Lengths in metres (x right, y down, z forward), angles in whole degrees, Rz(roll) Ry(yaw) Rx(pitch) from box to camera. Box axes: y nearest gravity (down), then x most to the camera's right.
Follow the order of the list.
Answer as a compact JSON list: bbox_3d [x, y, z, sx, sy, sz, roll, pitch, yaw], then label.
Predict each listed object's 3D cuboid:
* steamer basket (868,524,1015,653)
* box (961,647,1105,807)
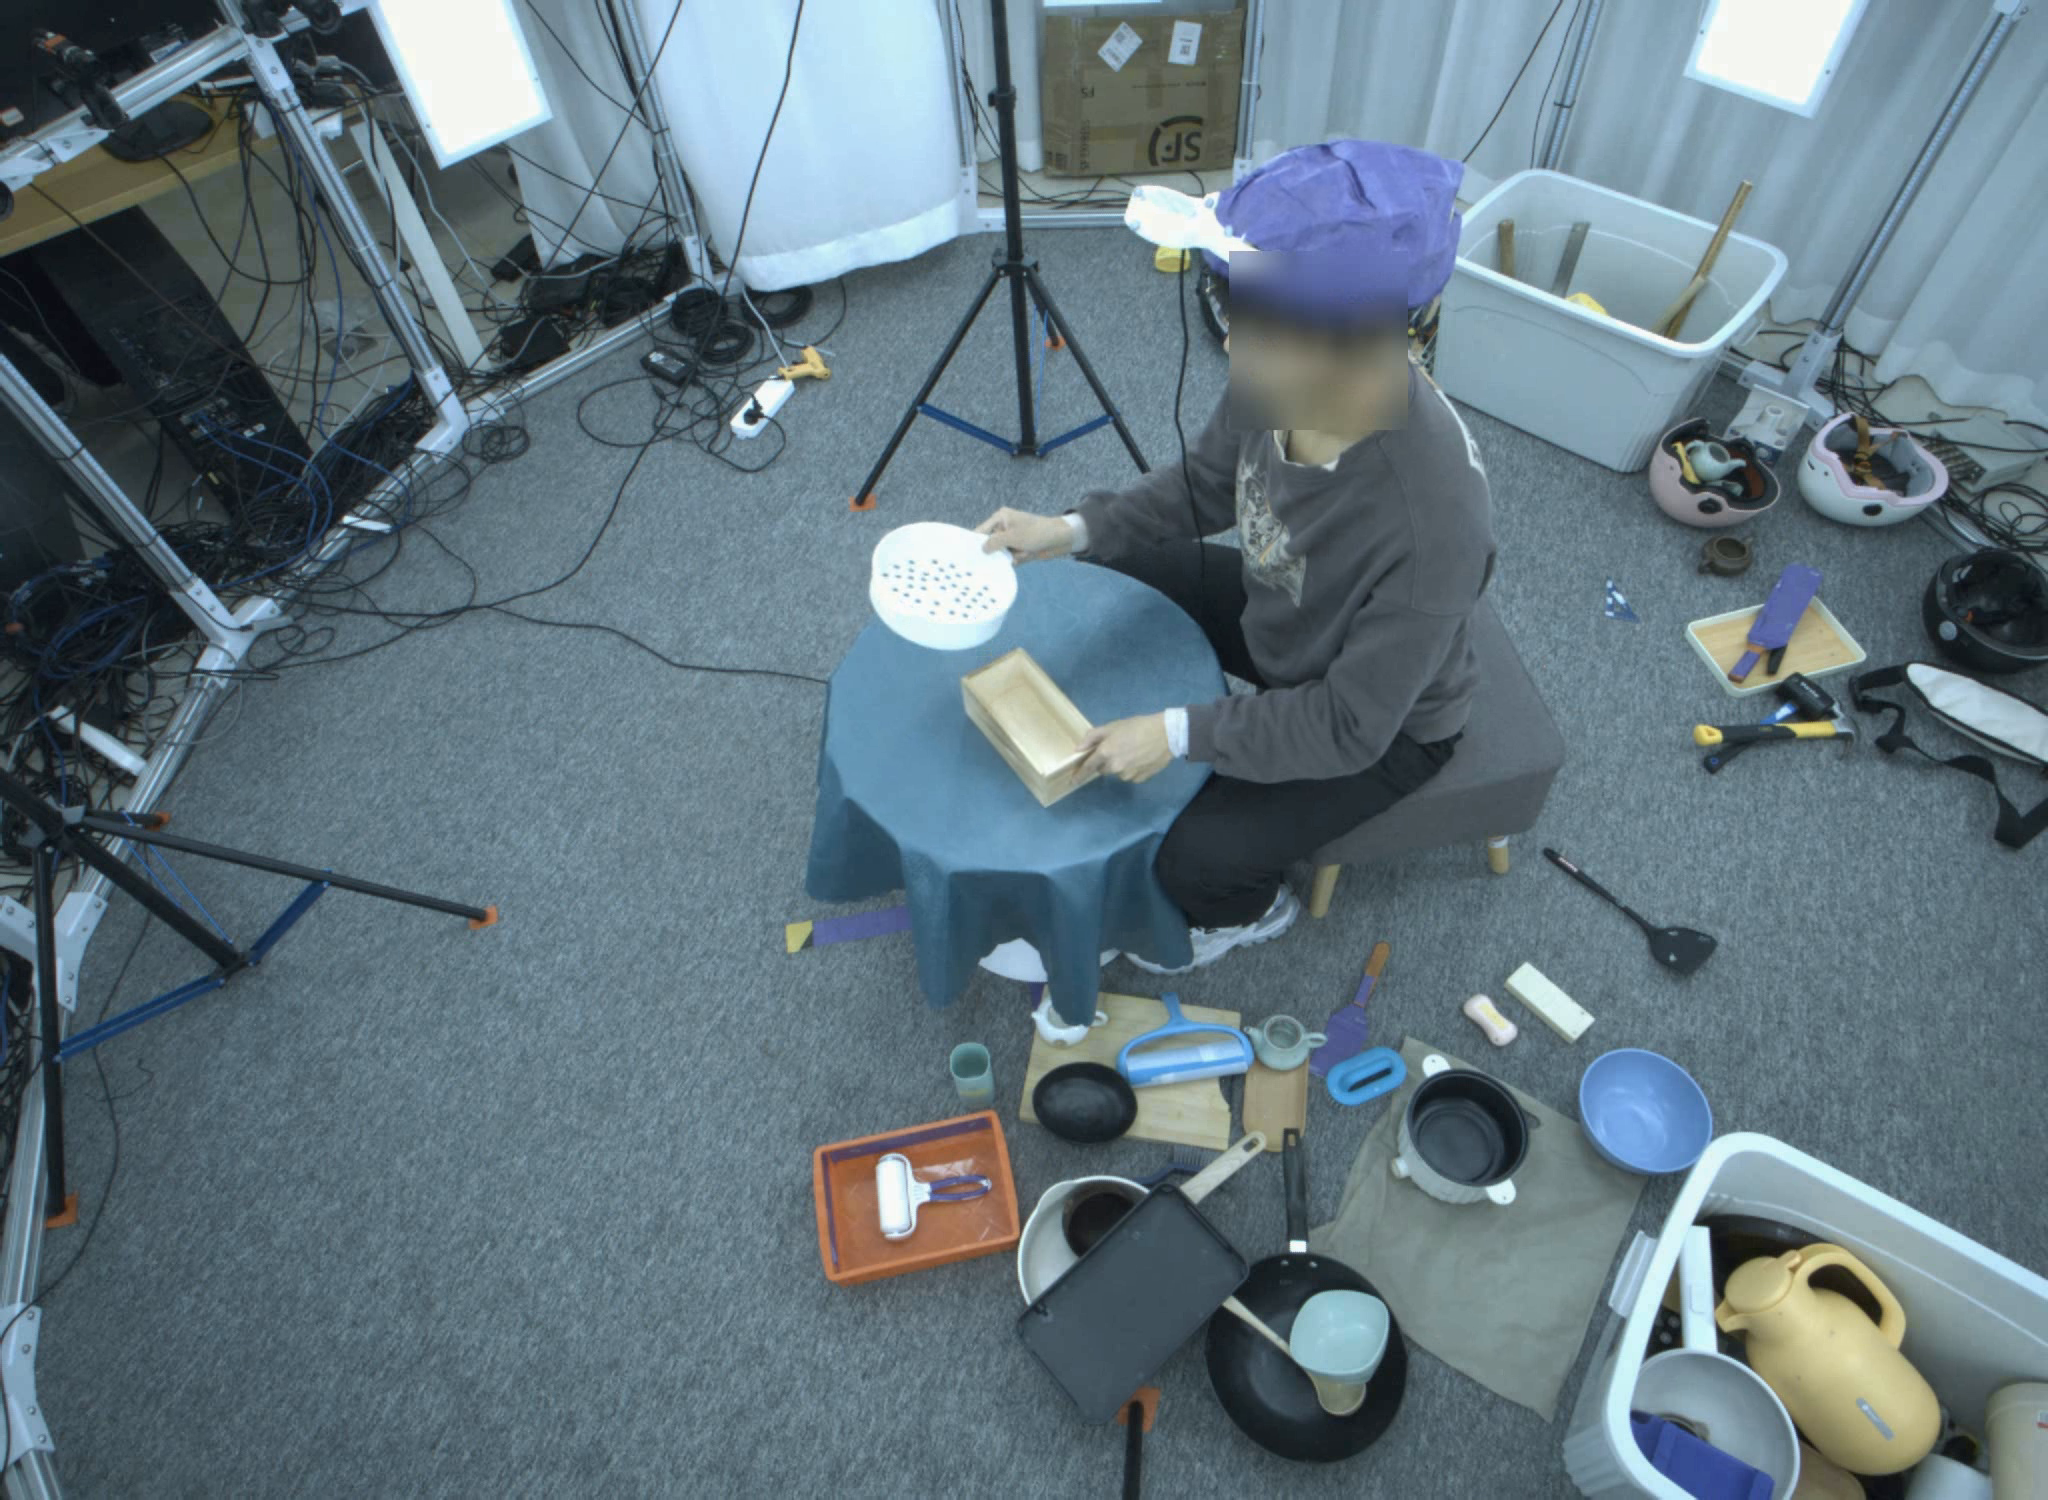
[{"bbox_3d":[-0.117,-0.221,1.683,0.199,0.069,0.233,43,49,15],"label":"steamer basket"},{"bbox_3d":[0.012,-0.036,1.761,0.108,0.081,0.207,-30,58,-18],"label":"box"}]
